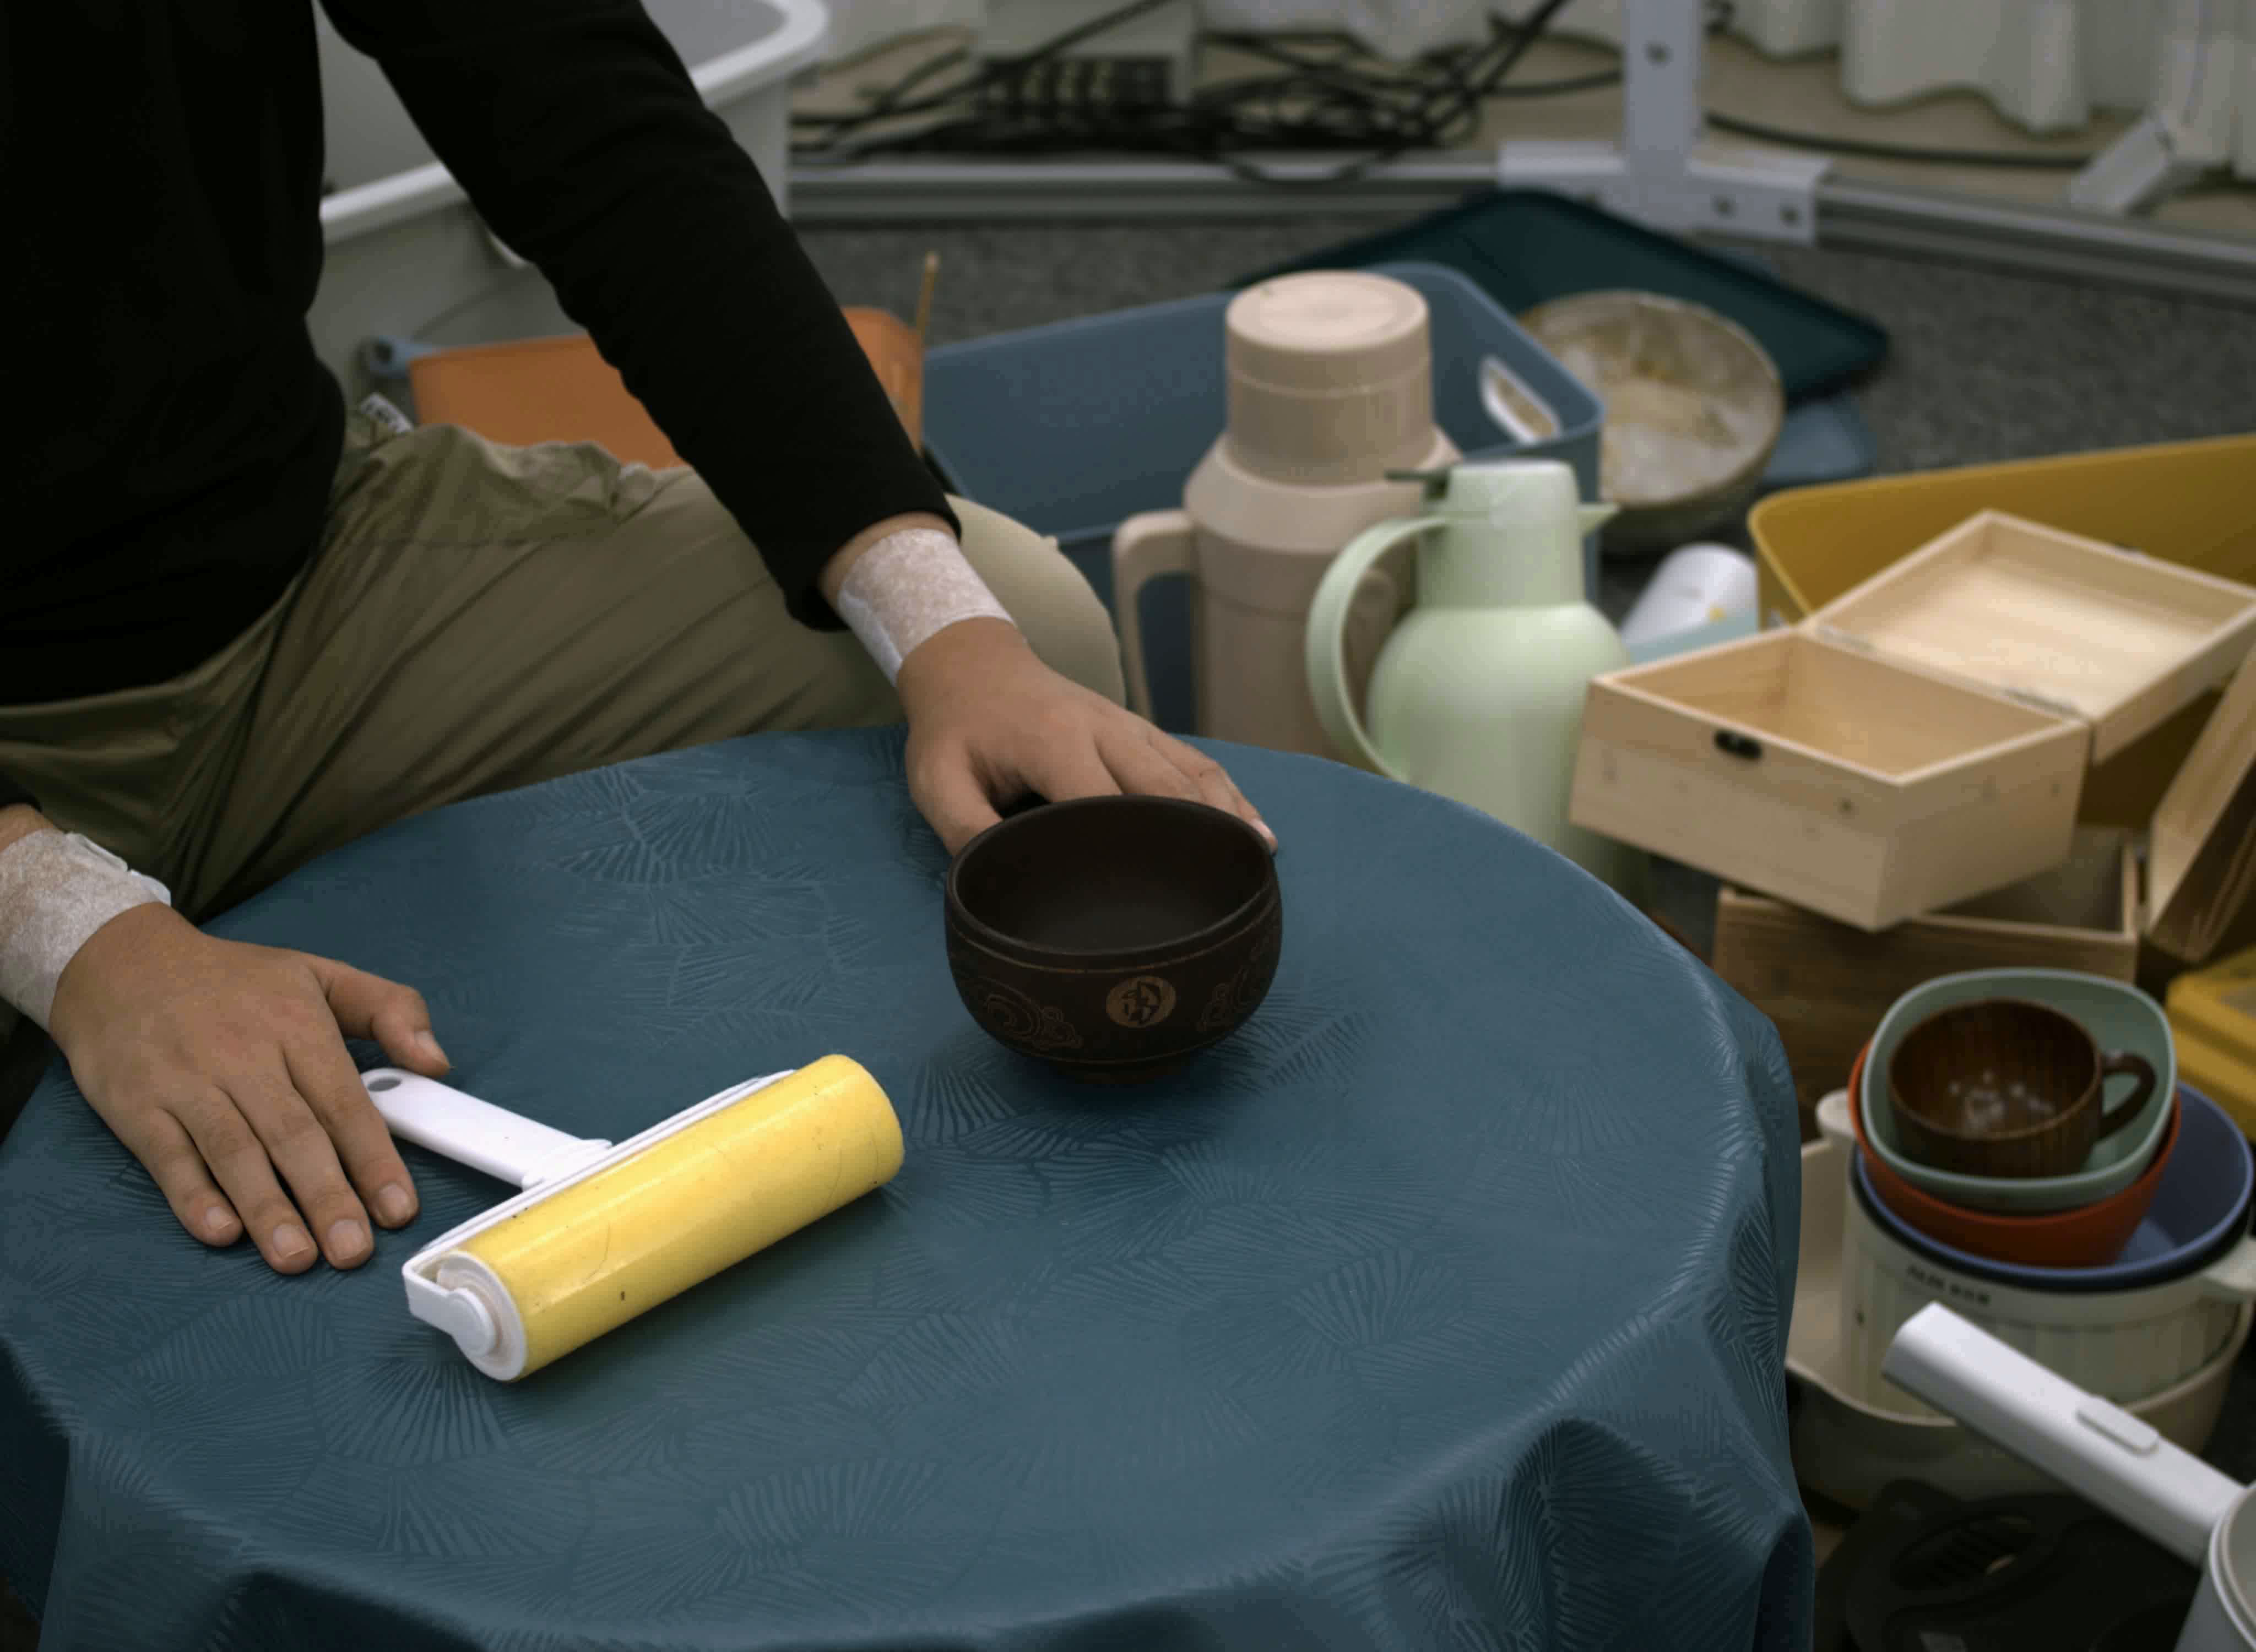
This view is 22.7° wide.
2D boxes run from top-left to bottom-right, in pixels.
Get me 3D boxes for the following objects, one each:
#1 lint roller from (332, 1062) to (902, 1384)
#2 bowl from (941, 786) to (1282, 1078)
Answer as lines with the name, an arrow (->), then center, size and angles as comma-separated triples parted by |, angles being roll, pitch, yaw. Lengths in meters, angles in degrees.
lint roller -> -0.198, 0.104, 1.860 | 0.192, 0.051, 0.176 | 26, 38, 36
bowl -> -0.005, 0.043, 1.933 | 0.117, 0.069, 0.120 | -1, 27, 1
